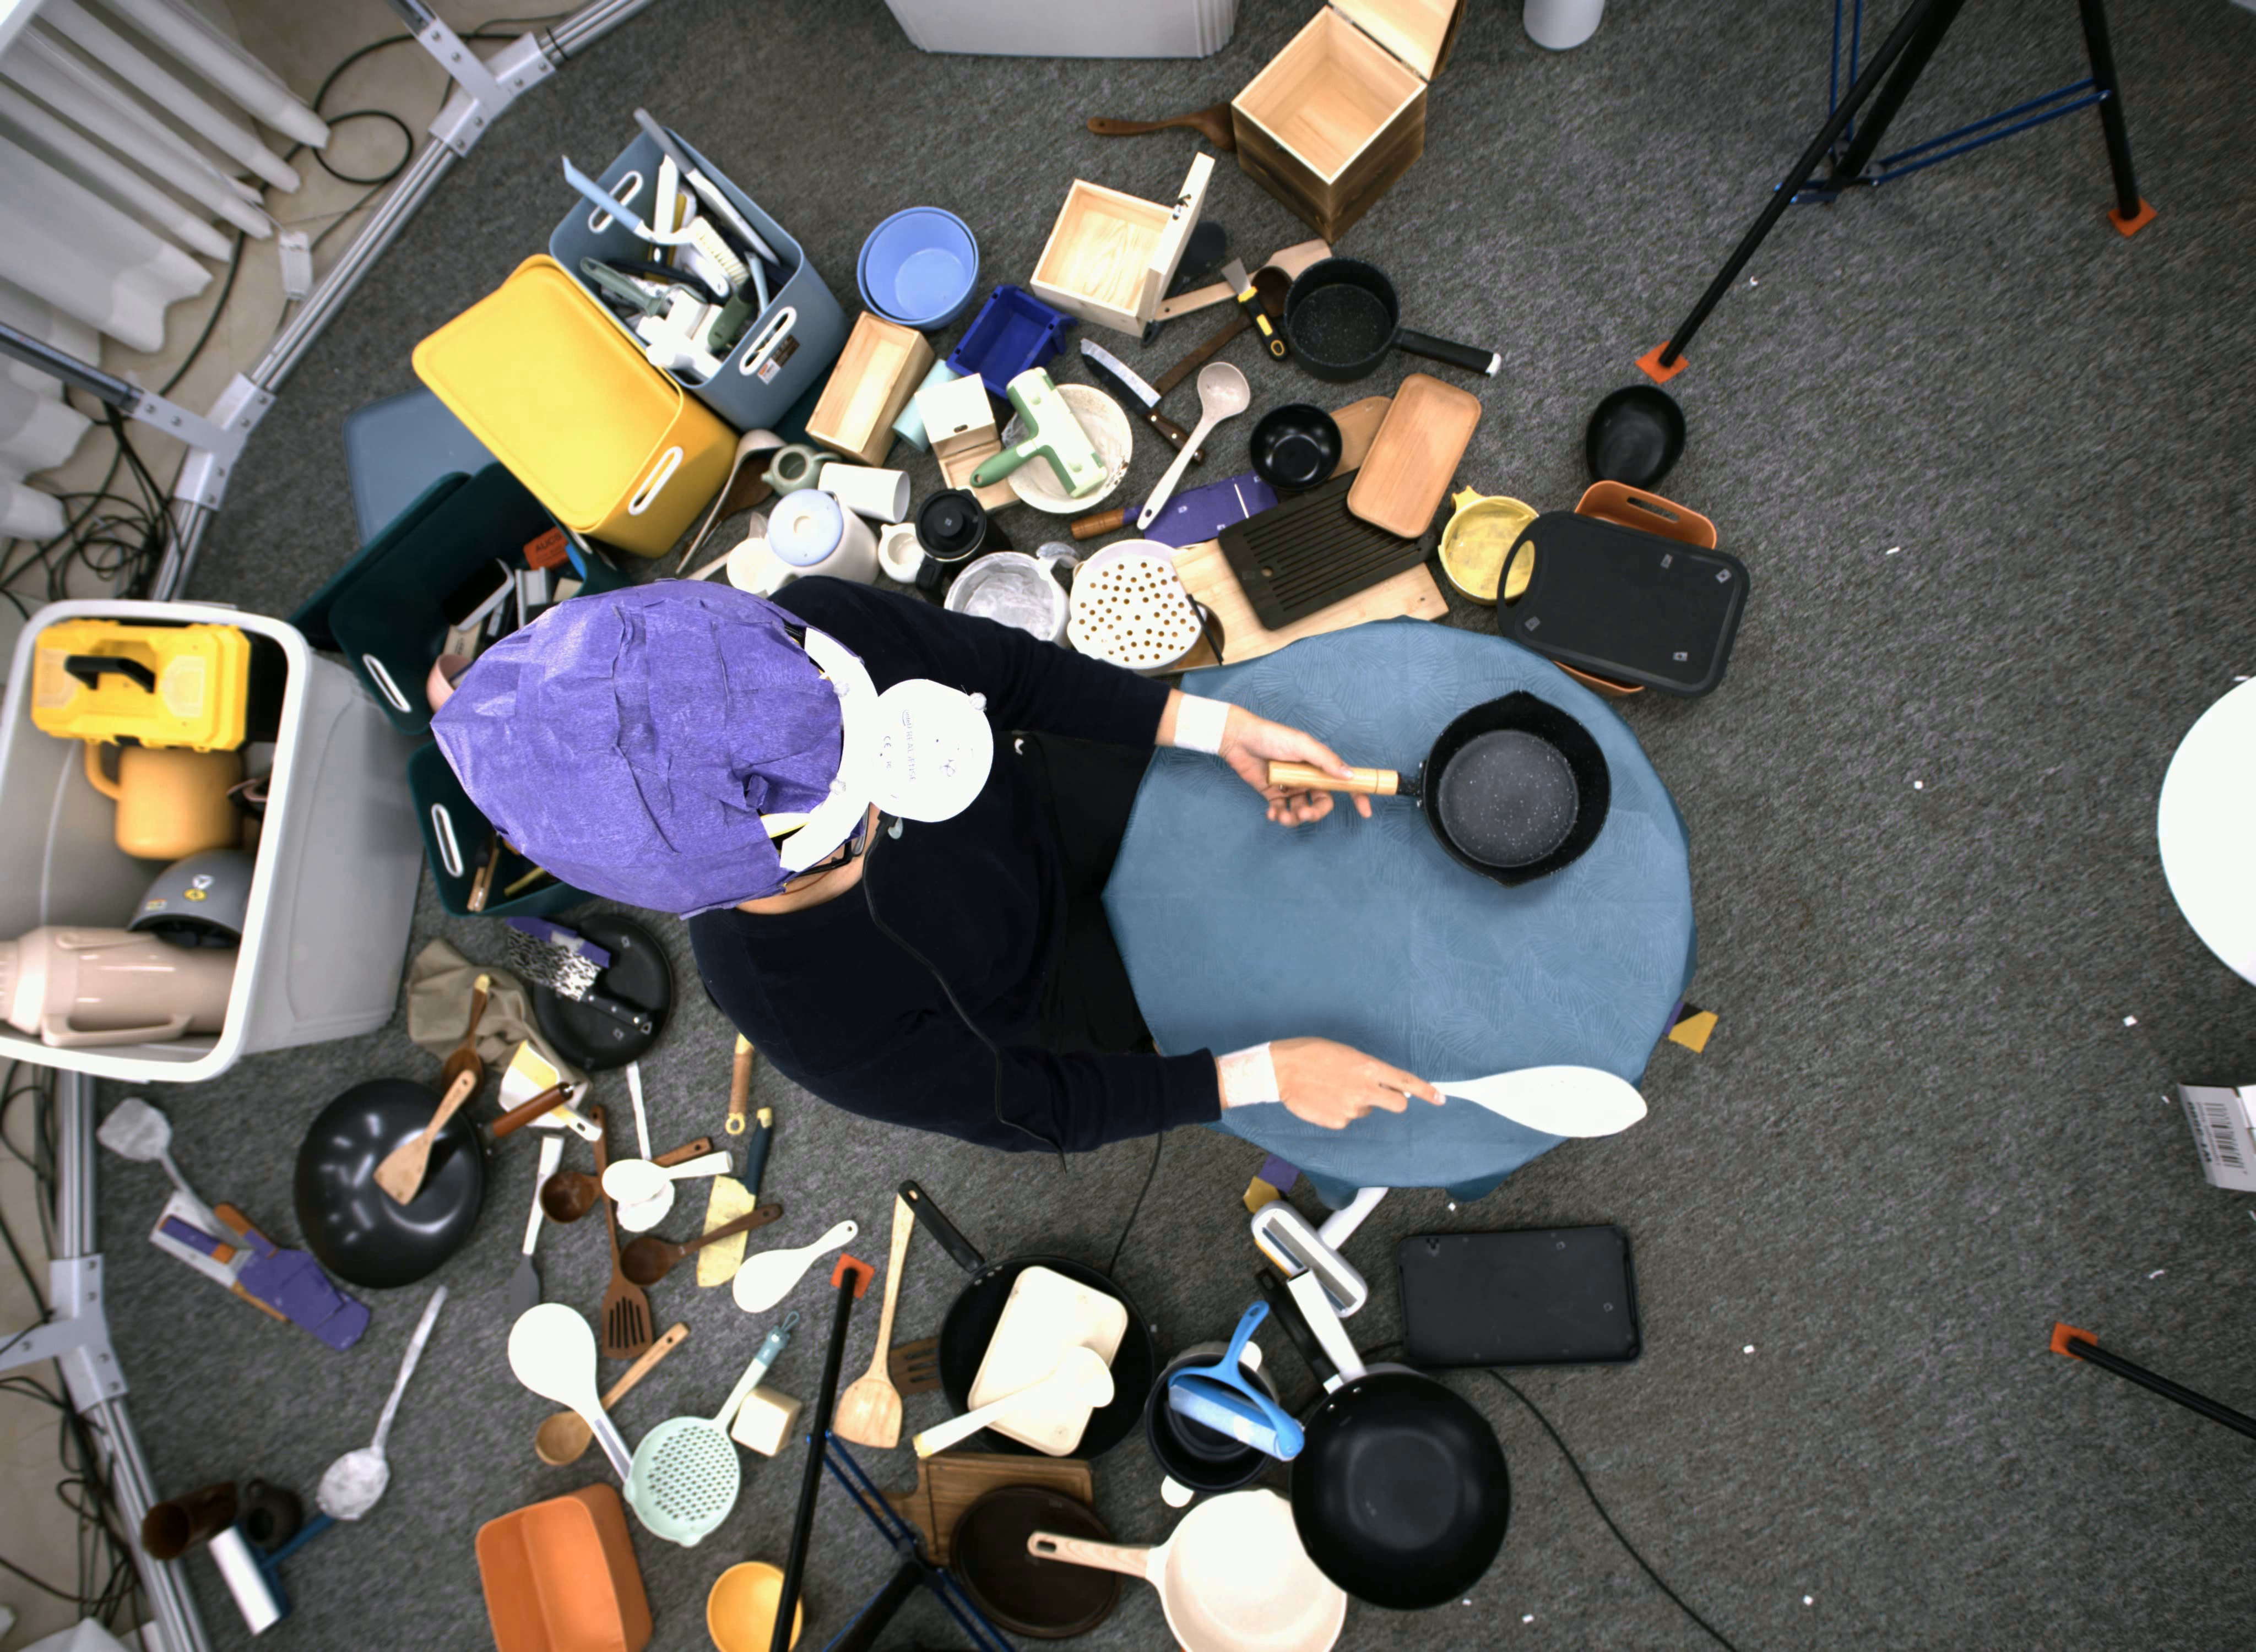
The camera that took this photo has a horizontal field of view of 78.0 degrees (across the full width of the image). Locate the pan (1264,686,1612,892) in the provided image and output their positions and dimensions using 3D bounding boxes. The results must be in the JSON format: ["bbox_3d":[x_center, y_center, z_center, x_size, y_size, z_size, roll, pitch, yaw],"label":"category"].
[{"bbox_3d":[0.311,-0.040,1.403,0.344,0.108,0.207,3,88,9],"label":"pan"}]

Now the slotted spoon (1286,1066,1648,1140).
[{"bbox_3d":[0.331,0.271,1.363,0.348,0.135,0.051,5,103,3],"label":"slotted spoon"}]
